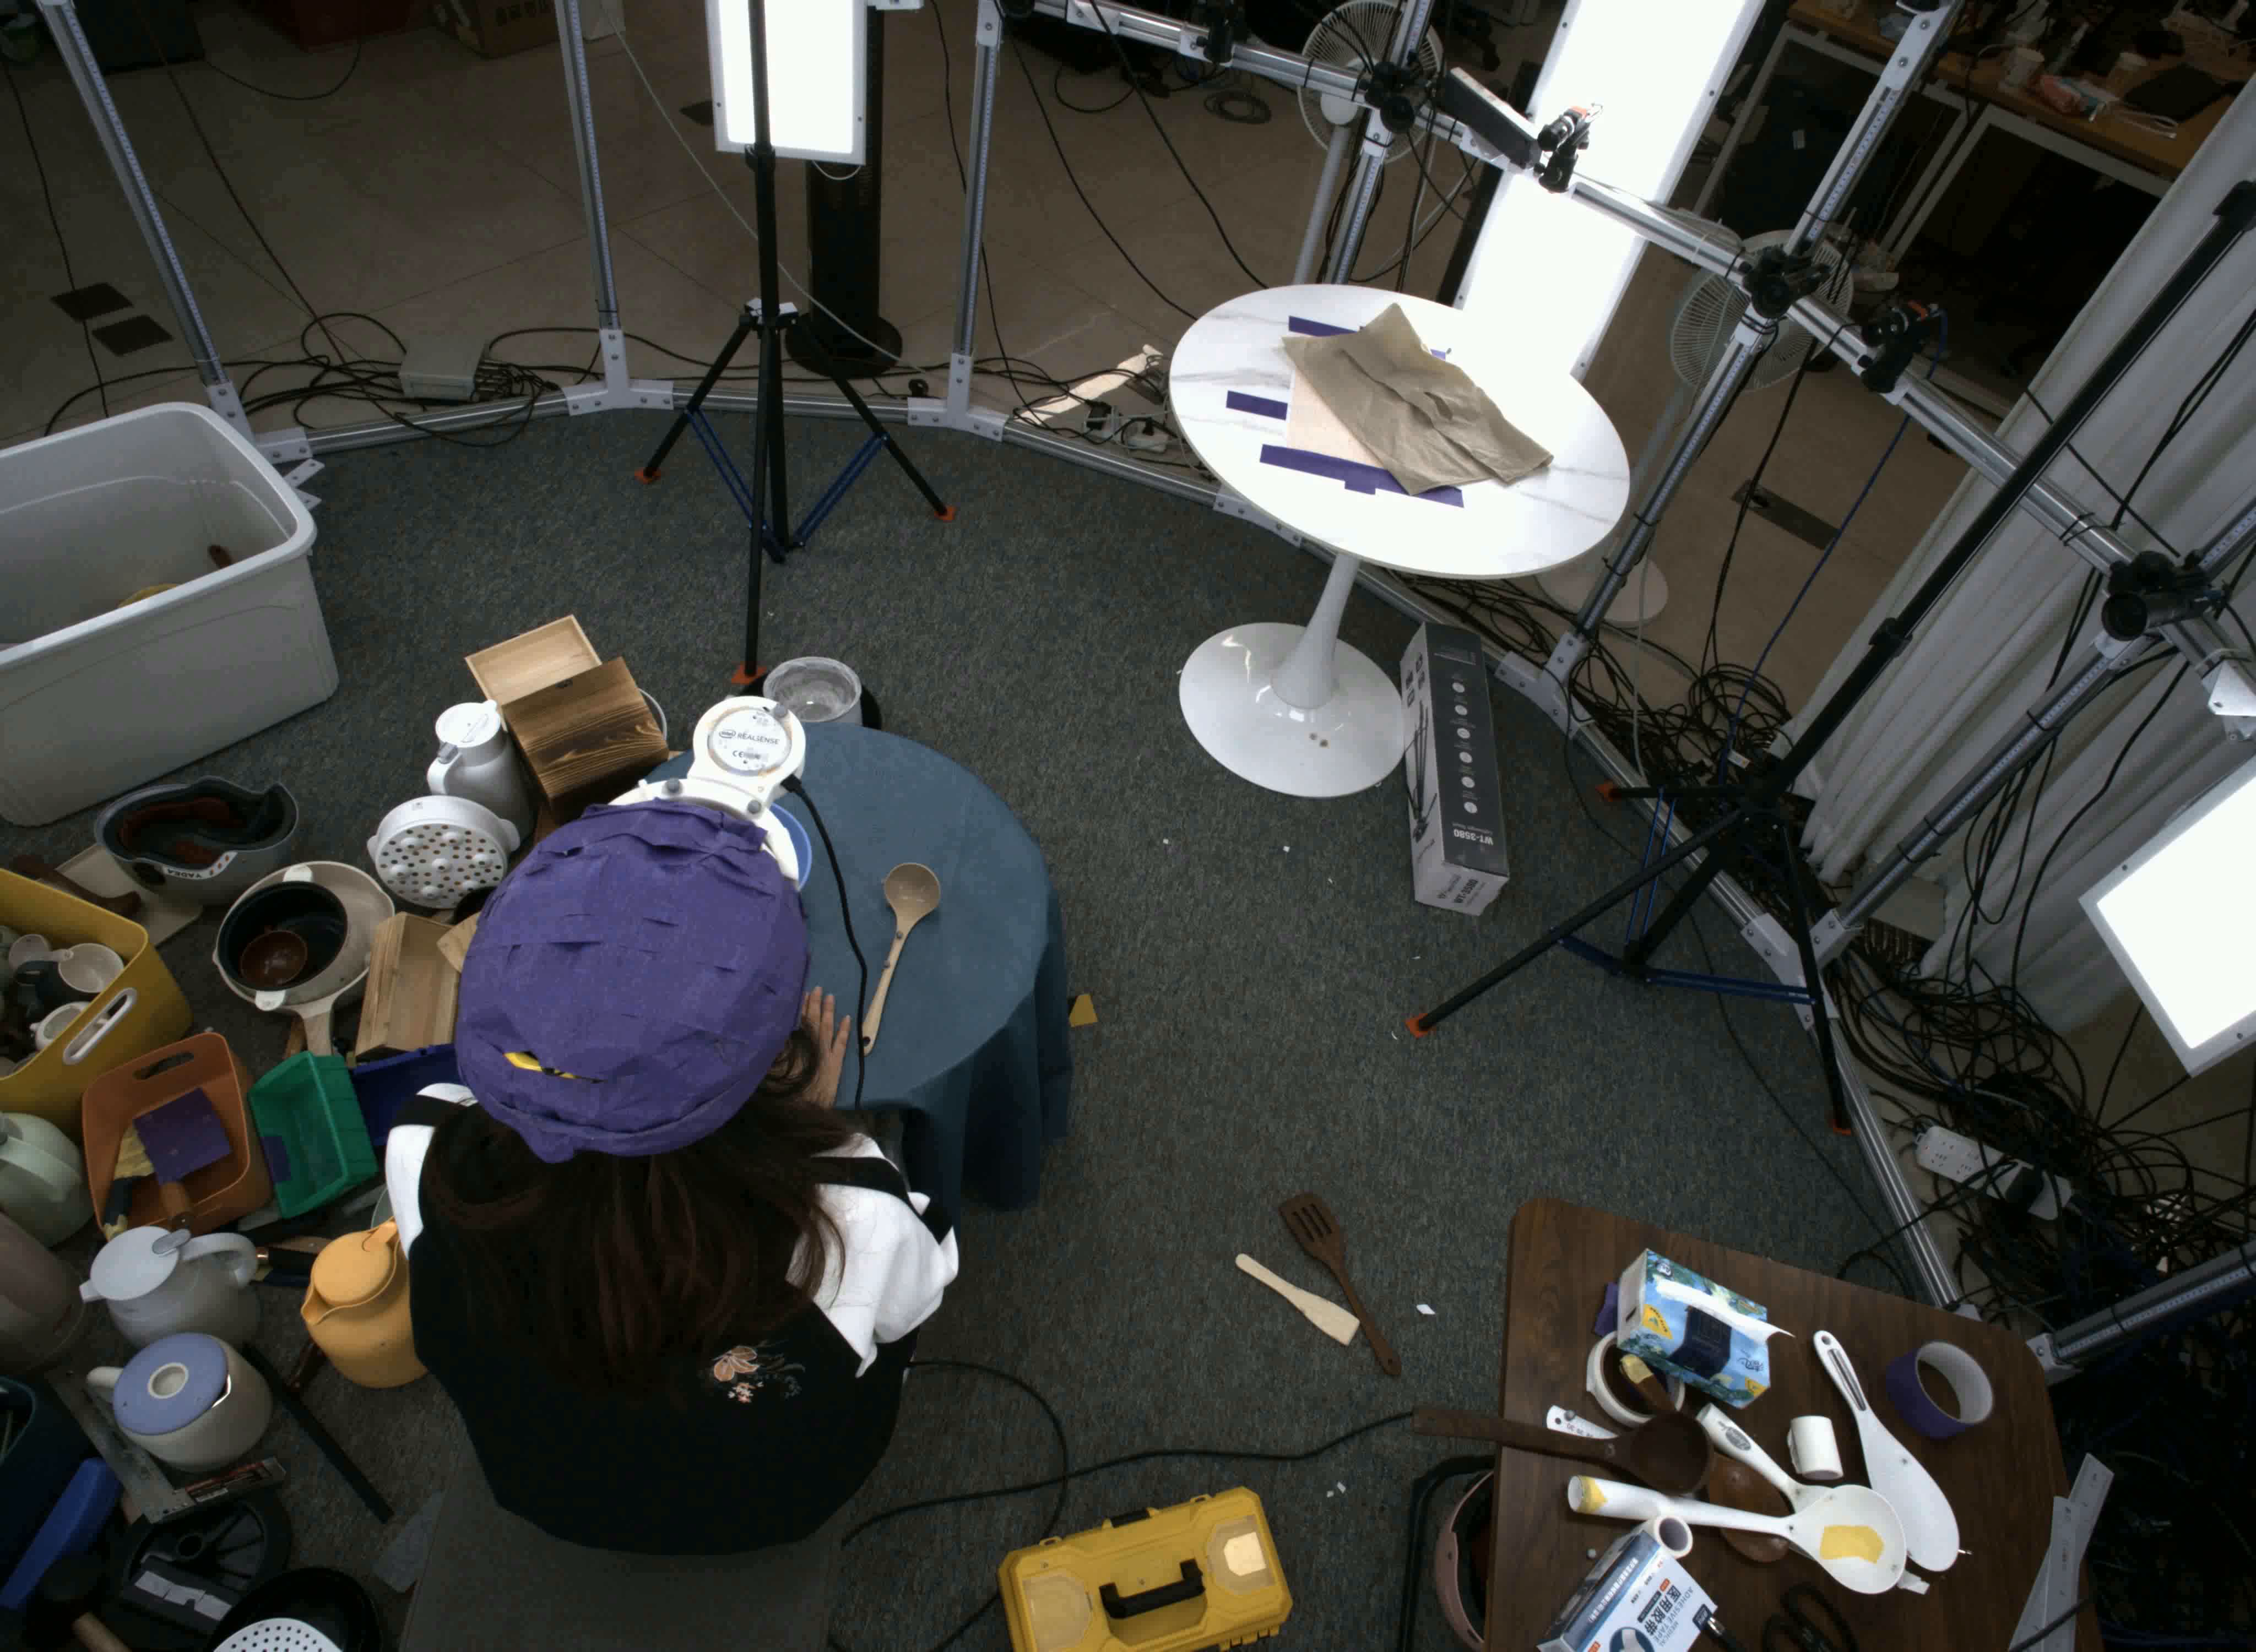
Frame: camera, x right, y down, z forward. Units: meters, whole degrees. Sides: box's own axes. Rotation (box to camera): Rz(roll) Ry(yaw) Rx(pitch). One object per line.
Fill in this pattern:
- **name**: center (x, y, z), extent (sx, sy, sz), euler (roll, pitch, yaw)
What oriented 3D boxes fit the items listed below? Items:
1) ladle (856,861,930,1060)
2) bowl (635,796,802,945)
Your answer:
- **ladle**: center (-0.298, 0.154, 1.590), extent (0.072, 0.074, 0.250), euler (11, 52, -4)
- **bowl**: center (-0.501, 0.068, 1.590), extent (0.196, 0.097, 0.193), euler (9, 52, -9)
